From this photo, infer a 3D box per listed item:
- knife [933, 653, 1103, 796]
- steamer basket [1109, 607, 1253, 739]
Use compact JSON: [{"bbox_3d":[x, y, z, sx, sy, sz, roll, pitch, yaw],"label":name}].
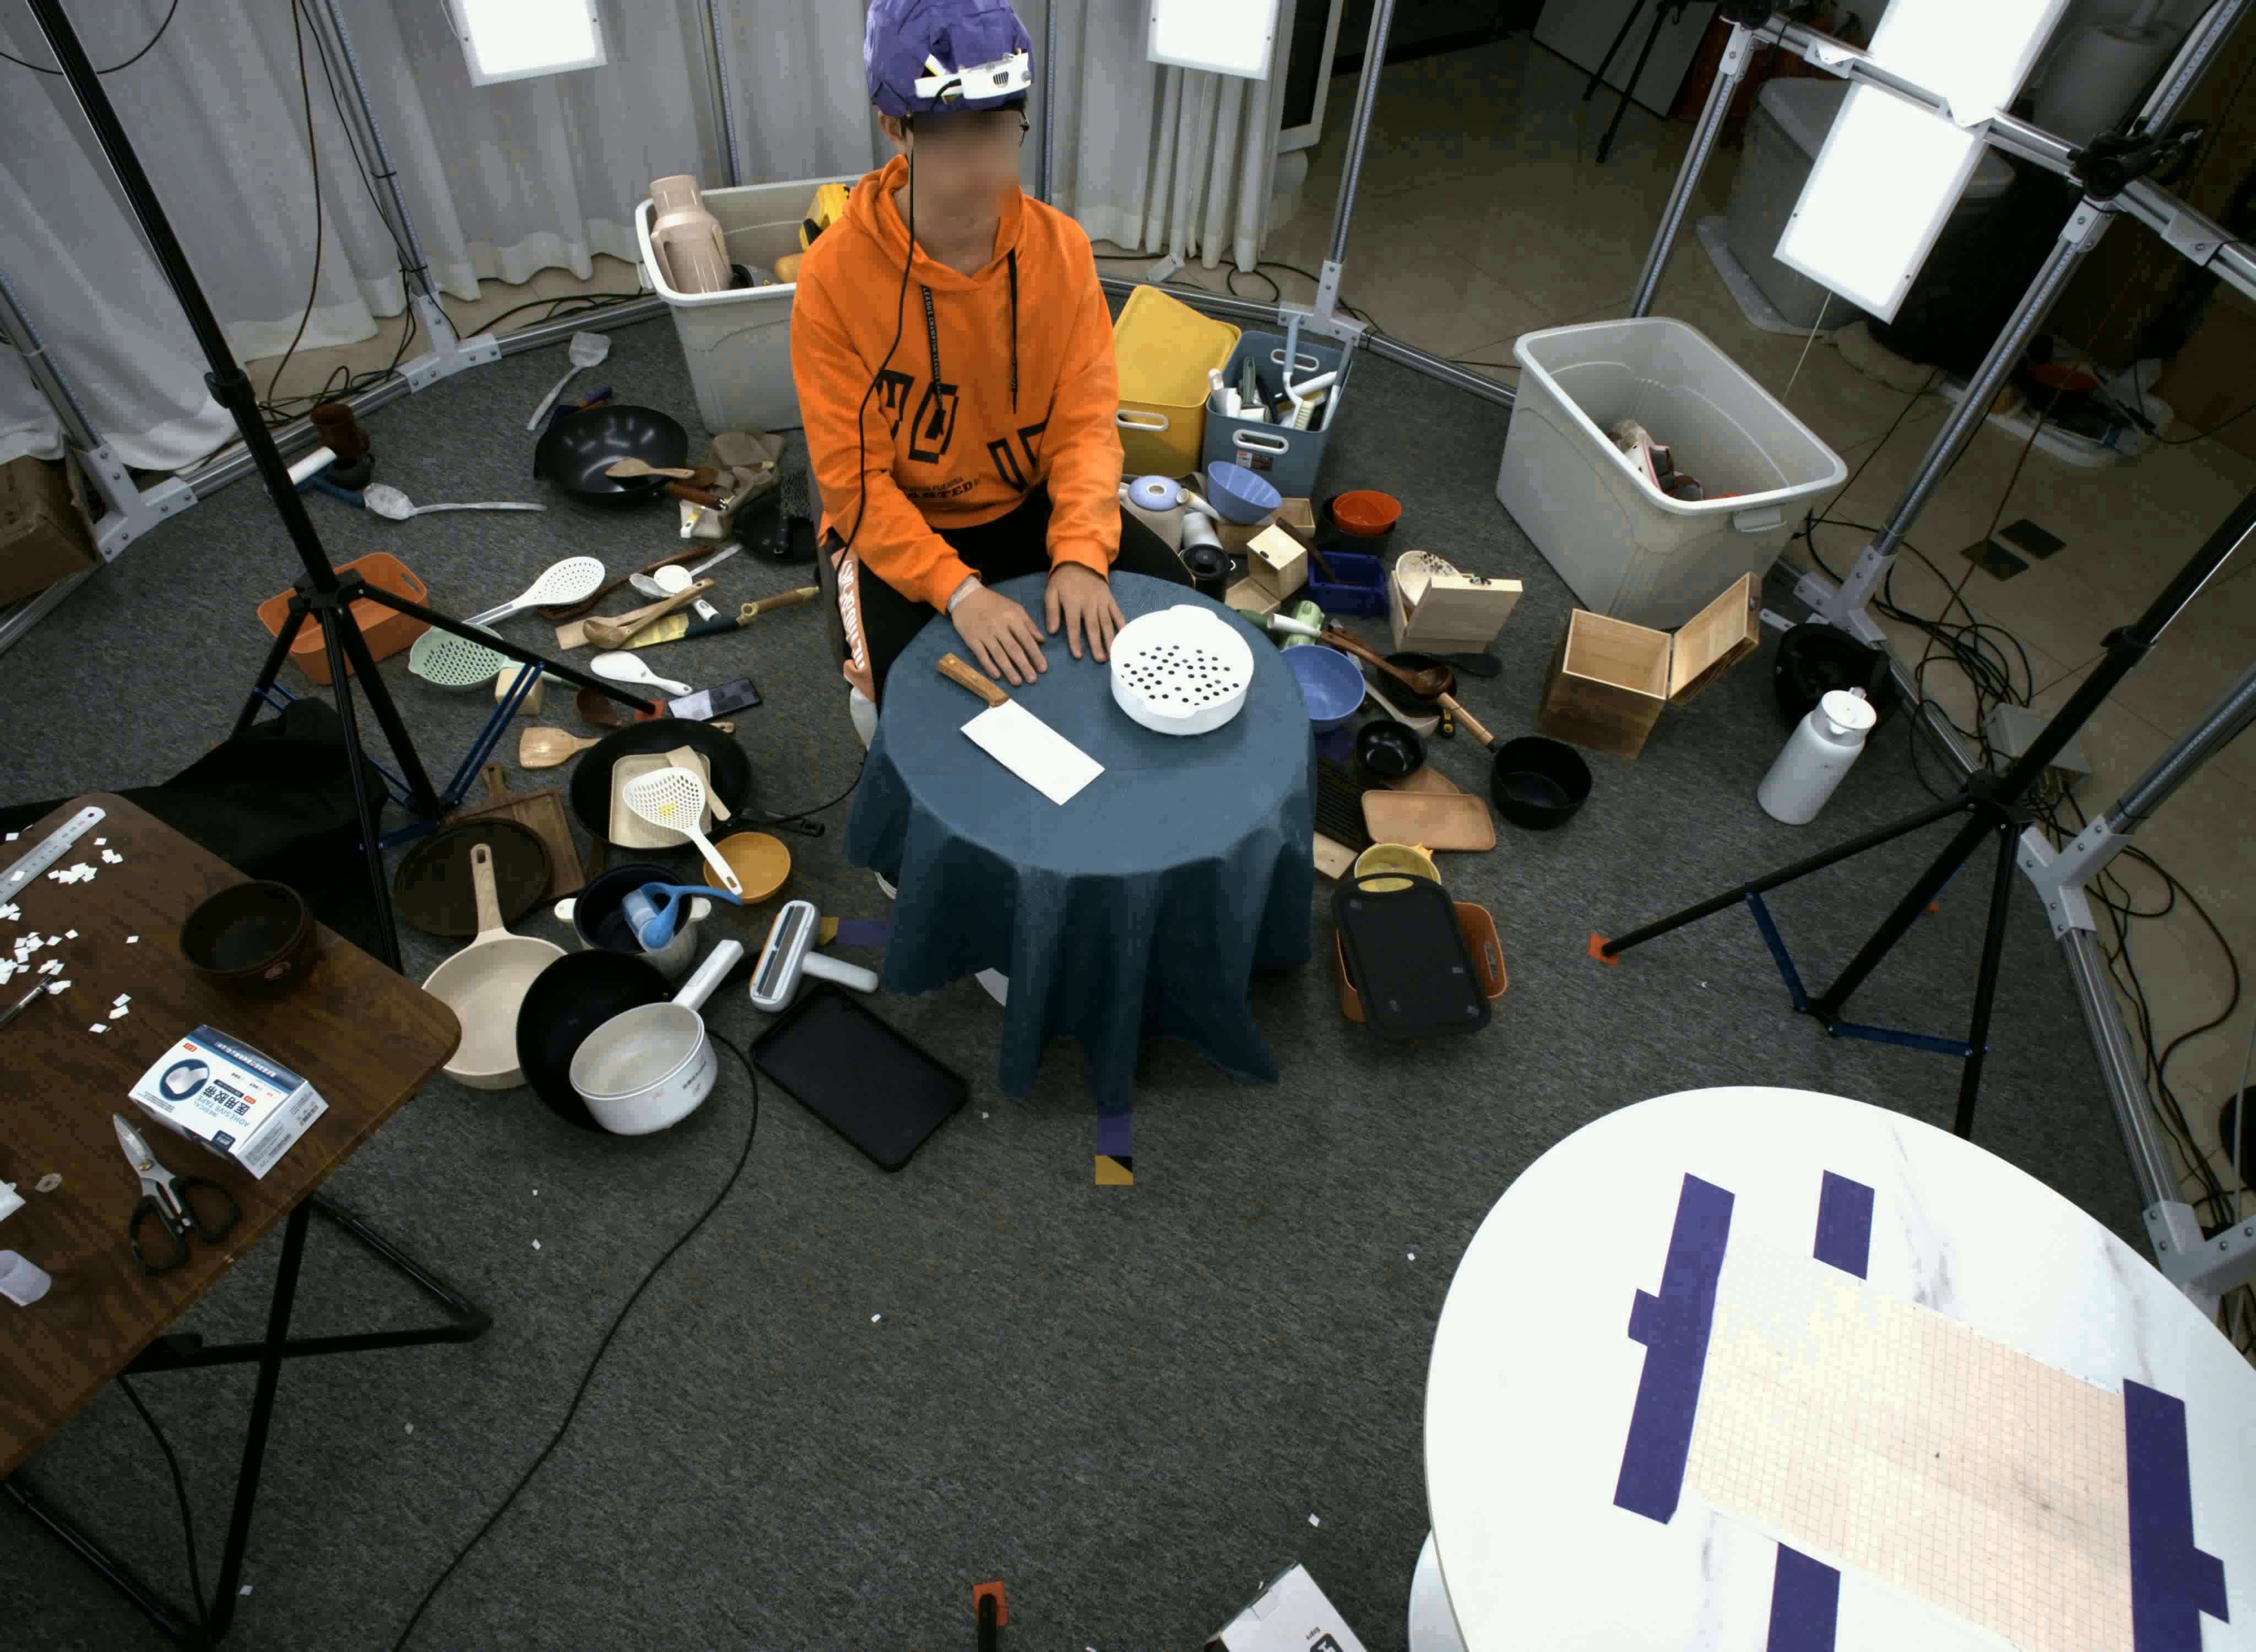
[{"bbox_3d":[-0.172,-0.138,1.767,0.310,0.020,0.094,37,58,23],"label":"knife"},{"bbox_3d":[0.074,-0.212,1.814,0.202,0.067,0.236,10,51,6],"label":"steamer basket"}]
